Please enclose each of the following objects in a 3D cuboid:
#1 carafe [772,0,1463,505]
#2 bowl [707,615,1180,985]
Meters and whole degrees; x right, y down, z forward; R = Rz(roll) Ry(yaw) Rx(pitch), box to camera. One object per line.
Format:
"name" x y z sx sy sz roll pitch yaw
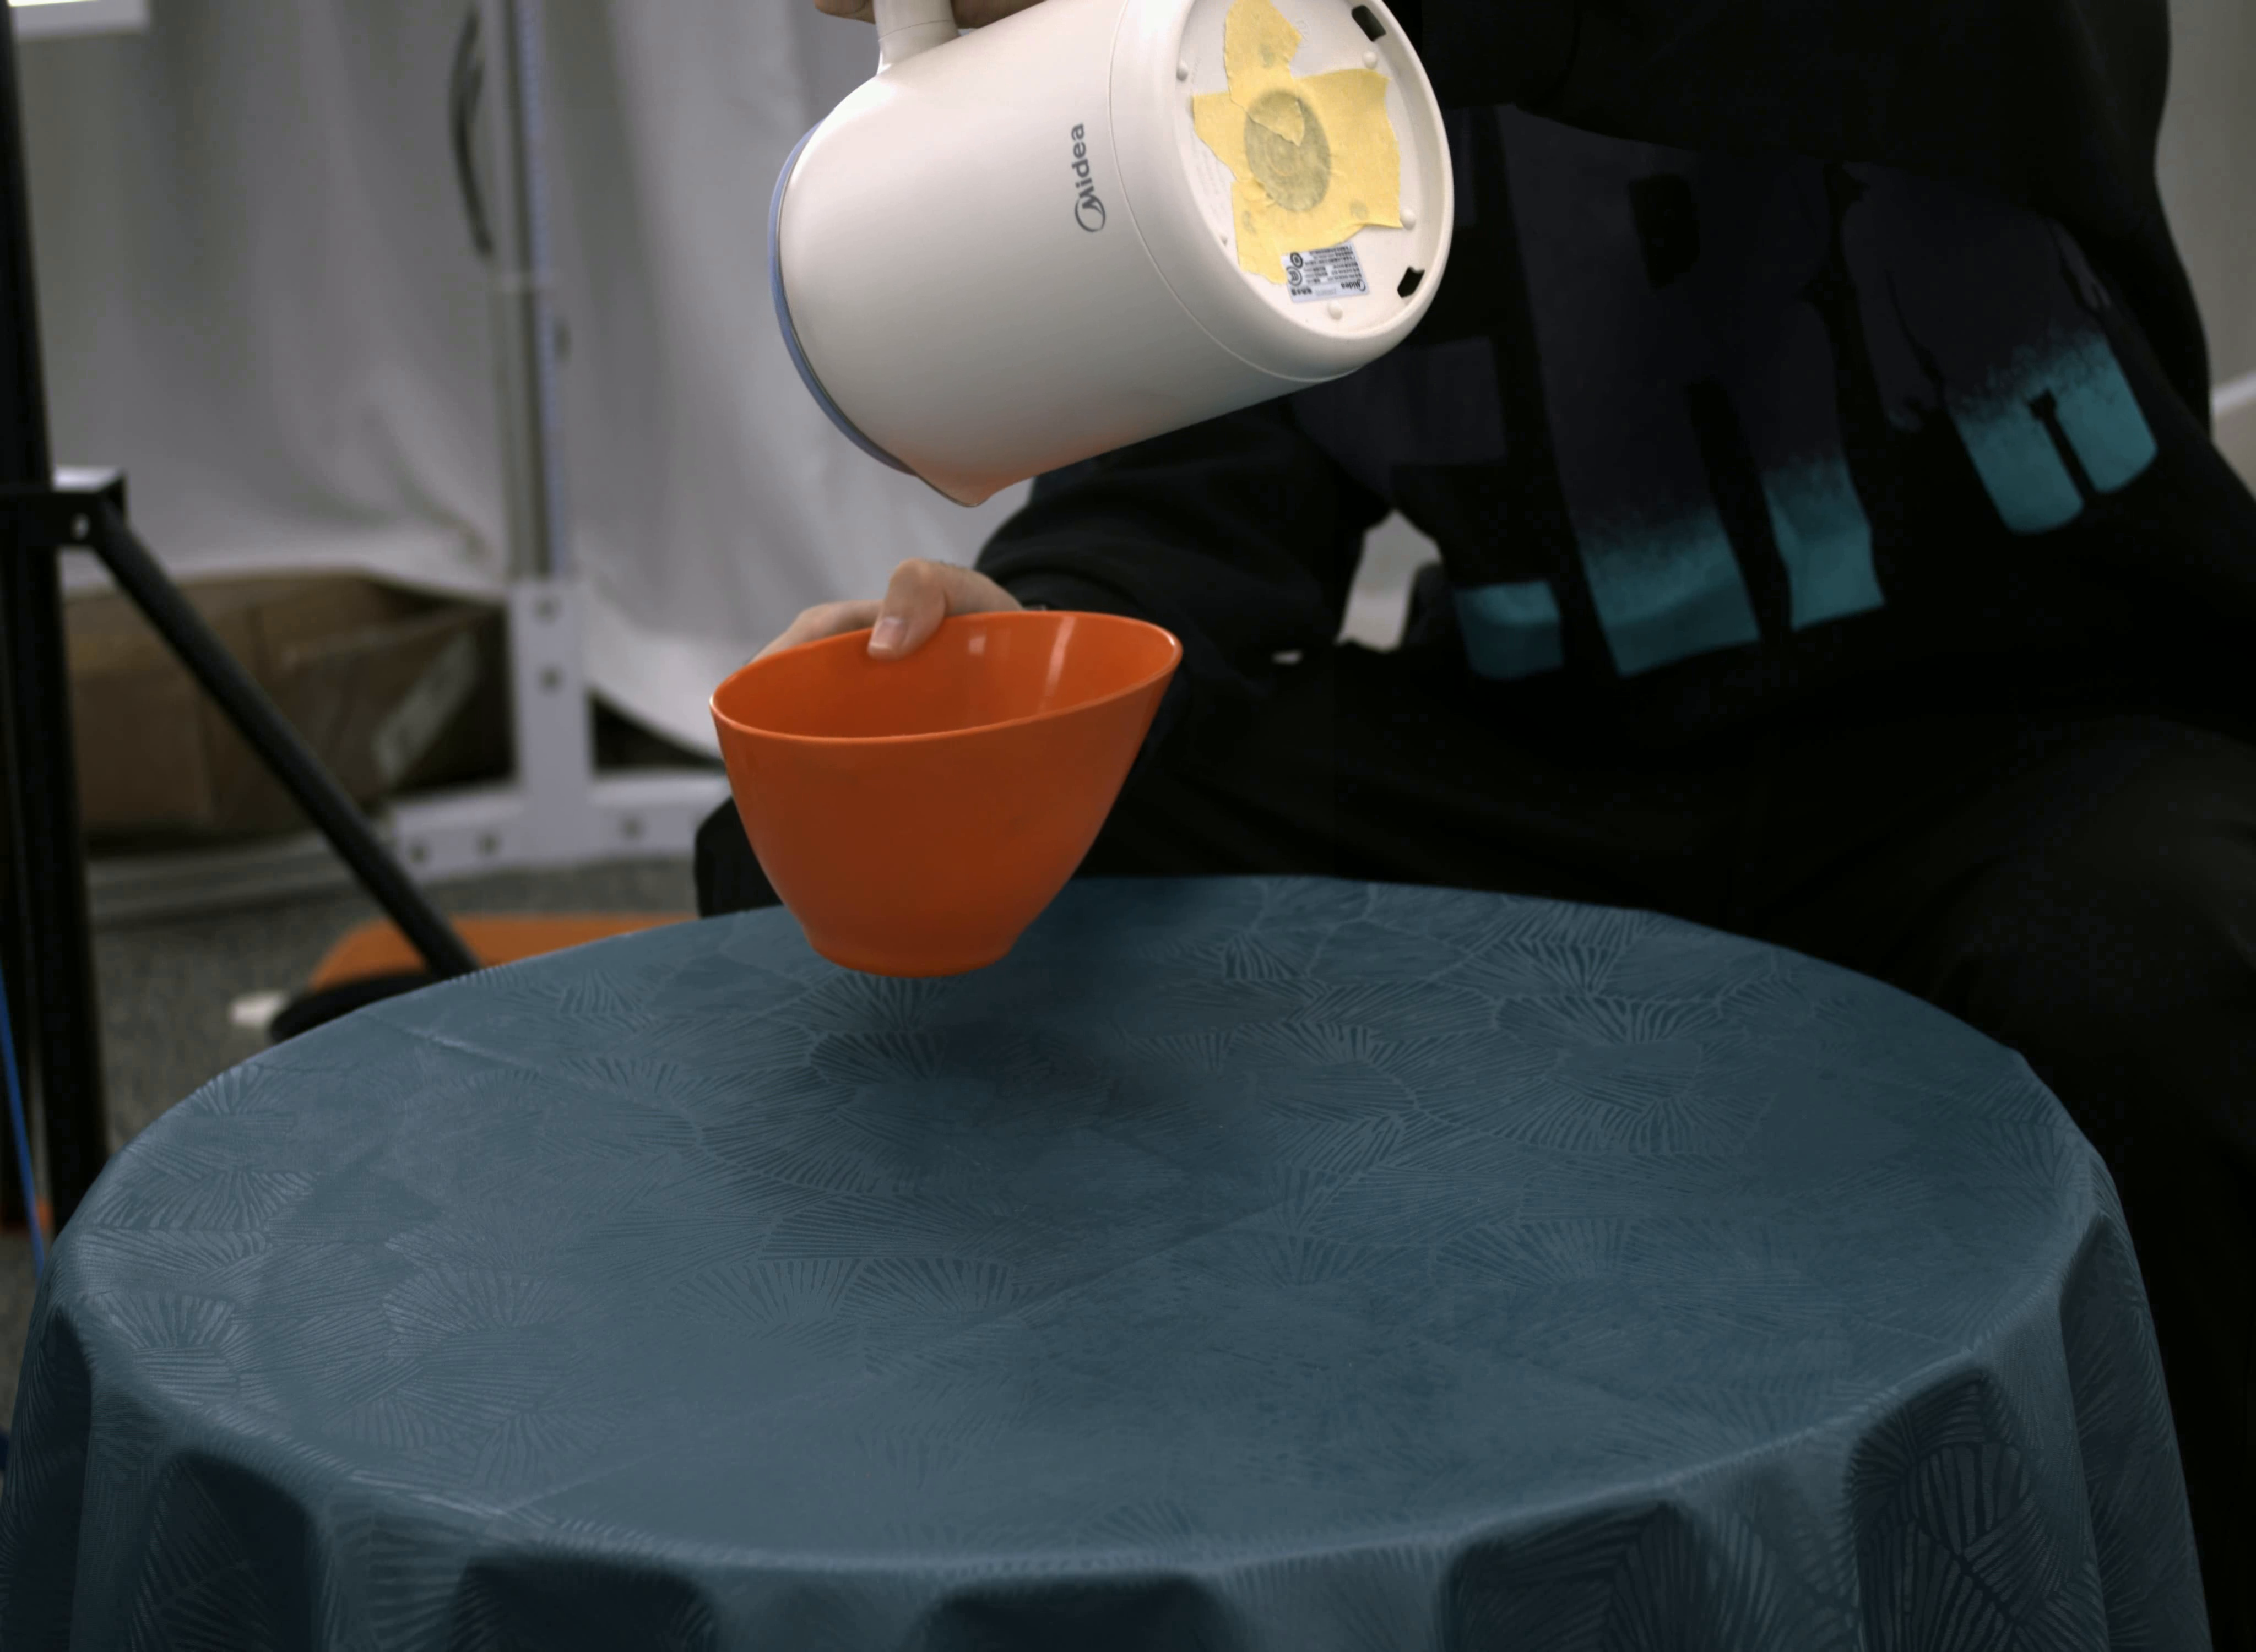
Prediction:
"carafe" -0.009 -0.202 1.564 0.186 0.192 0.129 -11 -3 43
"bowl" -0.060 -0.008 1.671 0.147 0.104 0.149 1 21 -2
